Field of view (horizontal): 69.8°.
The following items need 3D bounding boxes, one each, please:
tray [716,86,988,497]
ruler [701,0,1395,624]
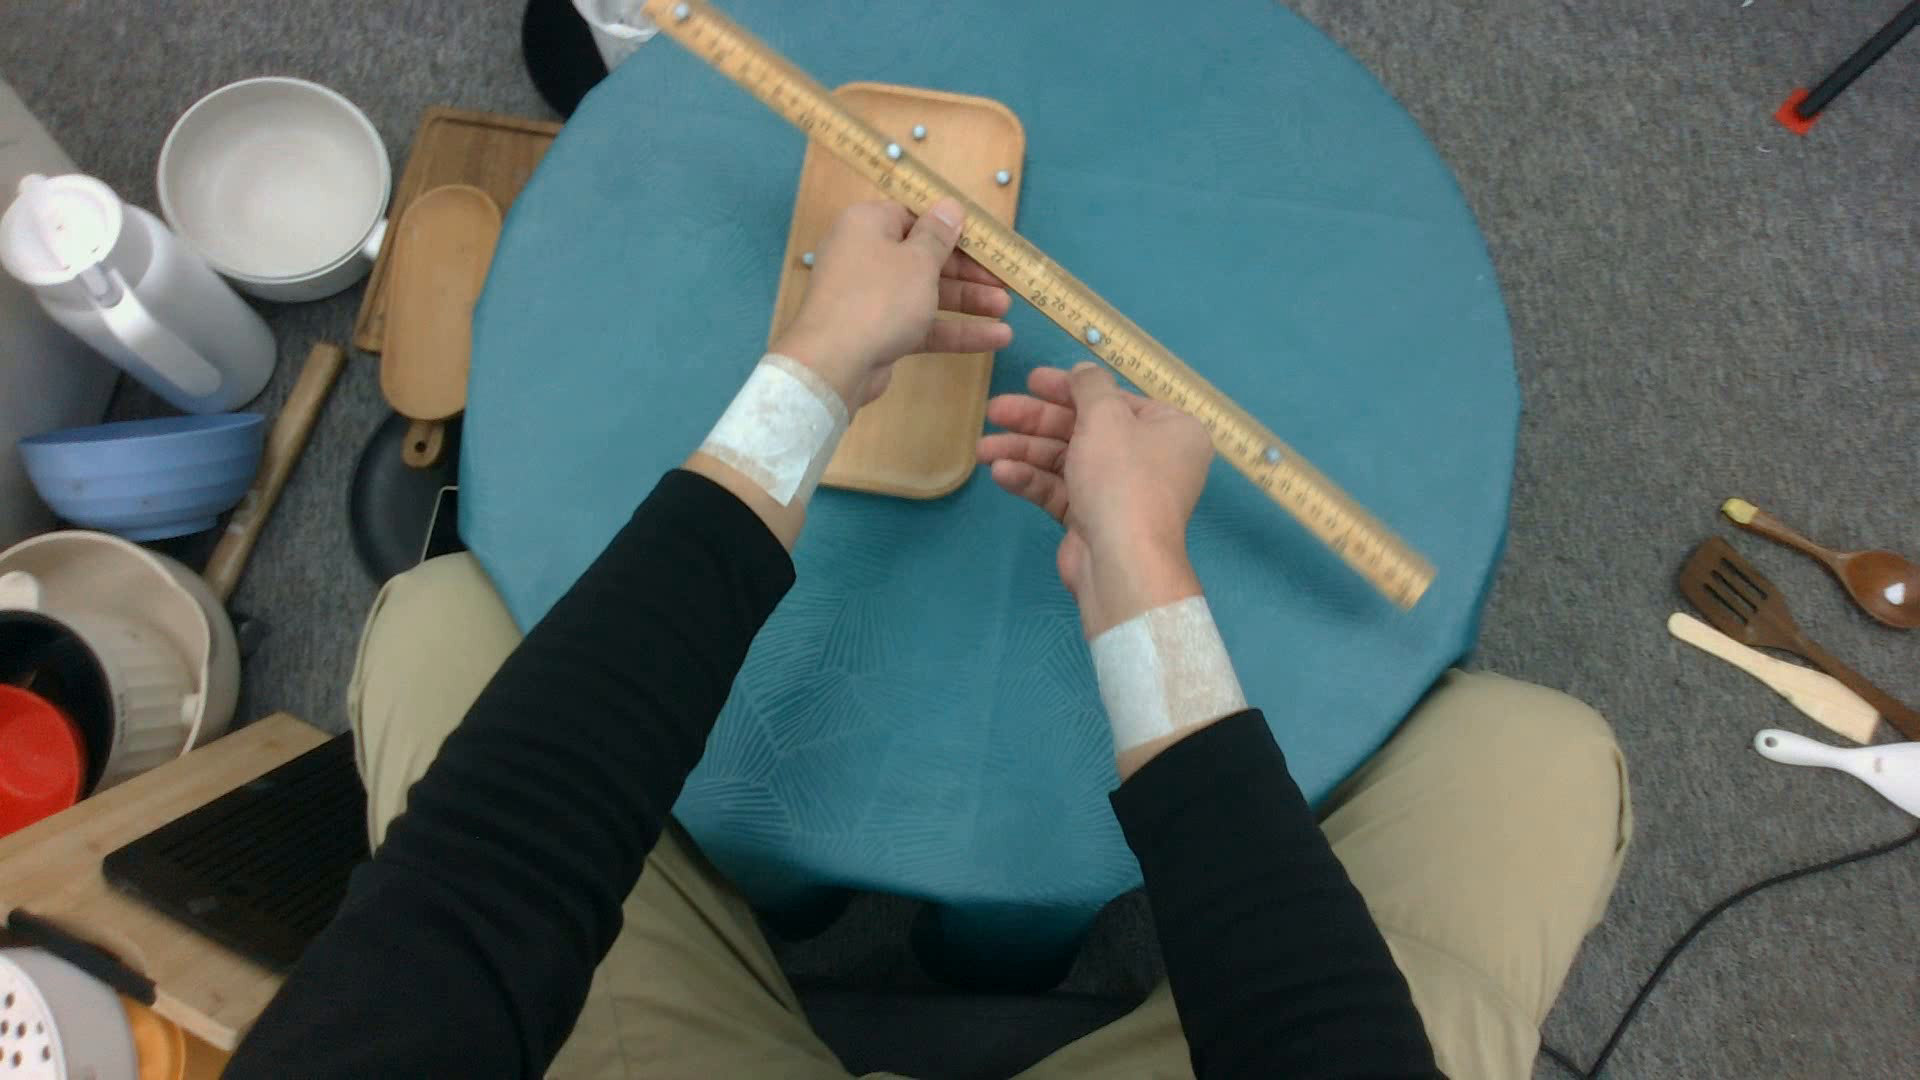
[{"bbox_3d":[-0.059,-0.147,0.792,0.130,0.023,0.251,8,74,2],"label":"tray"},{"bbox_3d":[0.038,-0.134,0.713,0.500,0.006,0.027,43,88,-2],"label":"ruler"}]
